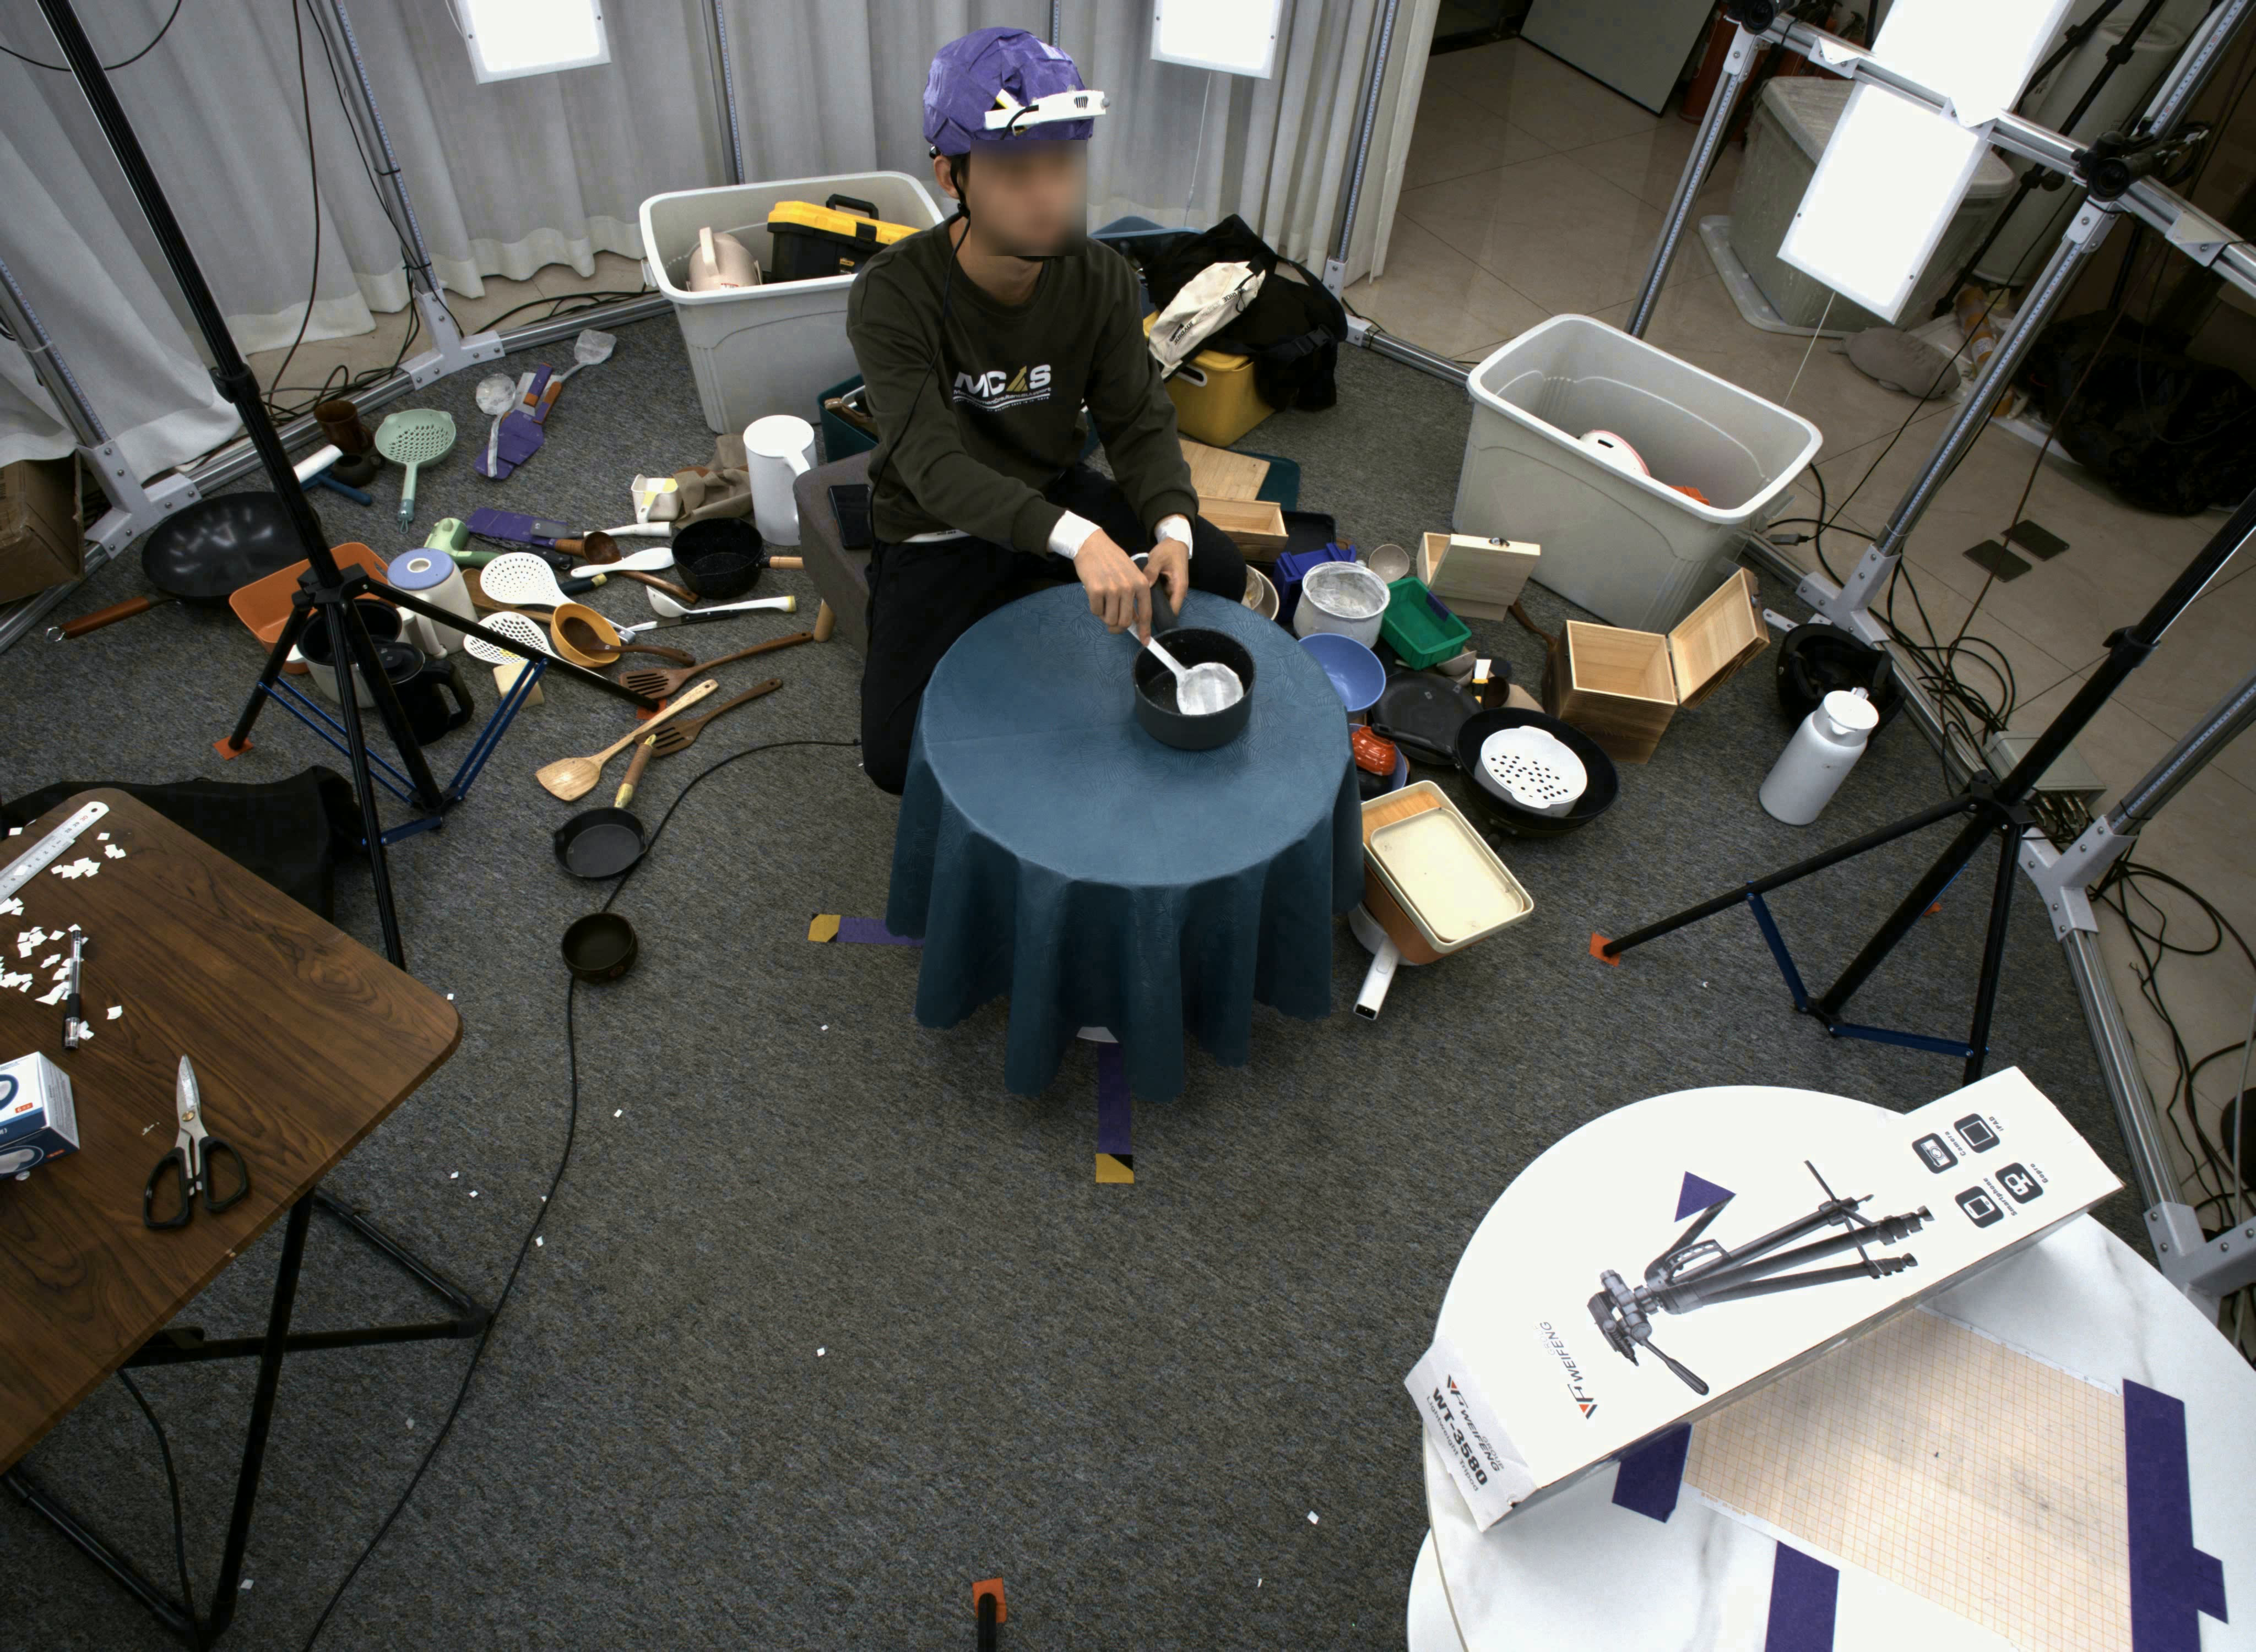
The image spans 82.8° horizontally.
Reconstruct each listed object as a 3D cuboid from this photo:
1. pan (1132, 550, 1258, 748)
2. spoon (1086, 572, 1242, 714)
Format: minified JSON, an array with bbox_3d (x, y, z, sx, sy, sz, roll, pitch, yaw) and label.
[{"bbox_3d":[0.071,-0.254,1.828,0.172,0.084,0.337,-12,53,-8],"label":"pan"},{"bbox_3d":[0.050,-0.248,1.744,0.101,0.273,0.060,-50,25,-8],"label":"spoon"}]
